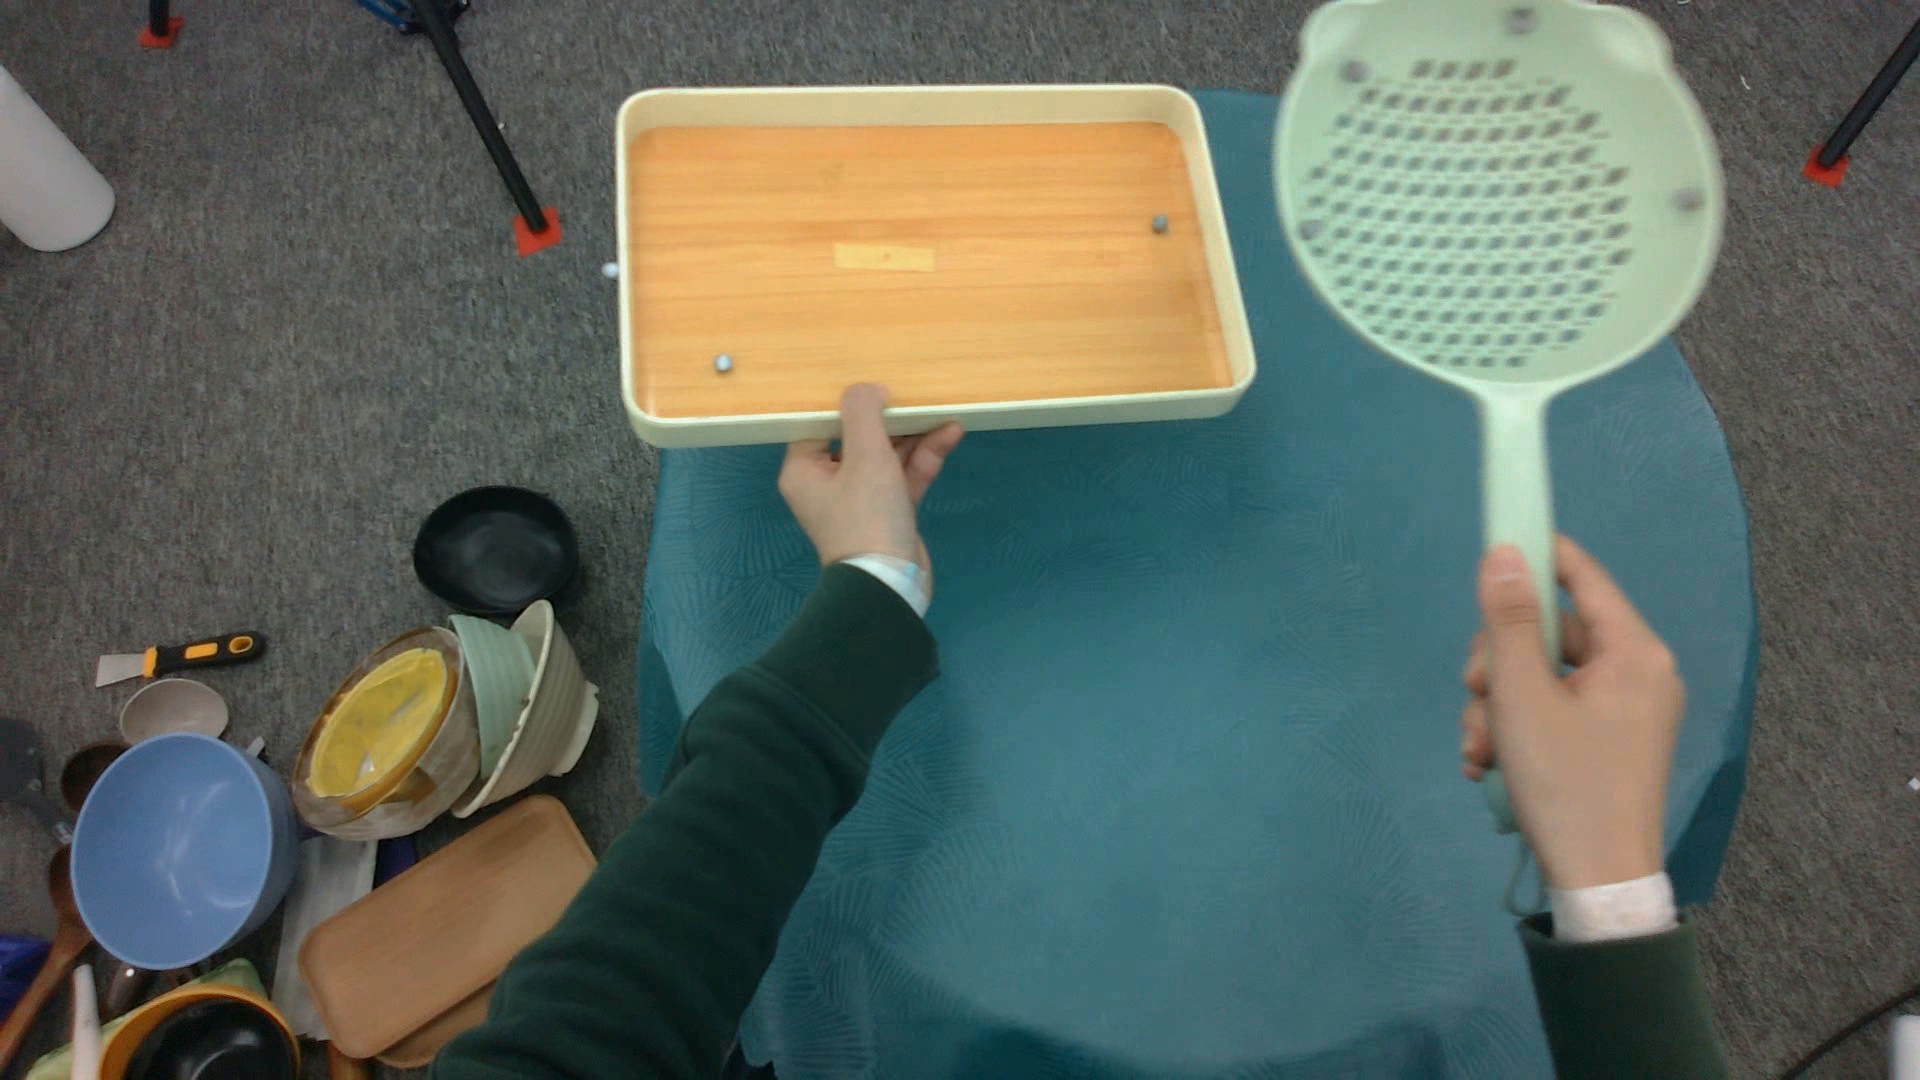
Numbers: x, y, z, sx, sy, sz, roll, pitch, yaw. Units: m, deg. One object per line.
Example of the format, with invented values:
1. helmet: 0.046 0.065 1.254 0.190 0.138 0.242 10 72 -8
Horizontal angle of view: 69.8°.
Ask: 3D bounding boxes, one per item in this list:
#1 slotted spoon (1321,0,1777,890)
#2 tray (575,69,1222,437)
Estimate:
1. slotted spoon: 0.225 -0.050 0.537 0.169 0.075 0.360 2 73 13
2. tray: -0.033 -0.148 0.682 0.300 0.027 0.192 -5 66 -9
